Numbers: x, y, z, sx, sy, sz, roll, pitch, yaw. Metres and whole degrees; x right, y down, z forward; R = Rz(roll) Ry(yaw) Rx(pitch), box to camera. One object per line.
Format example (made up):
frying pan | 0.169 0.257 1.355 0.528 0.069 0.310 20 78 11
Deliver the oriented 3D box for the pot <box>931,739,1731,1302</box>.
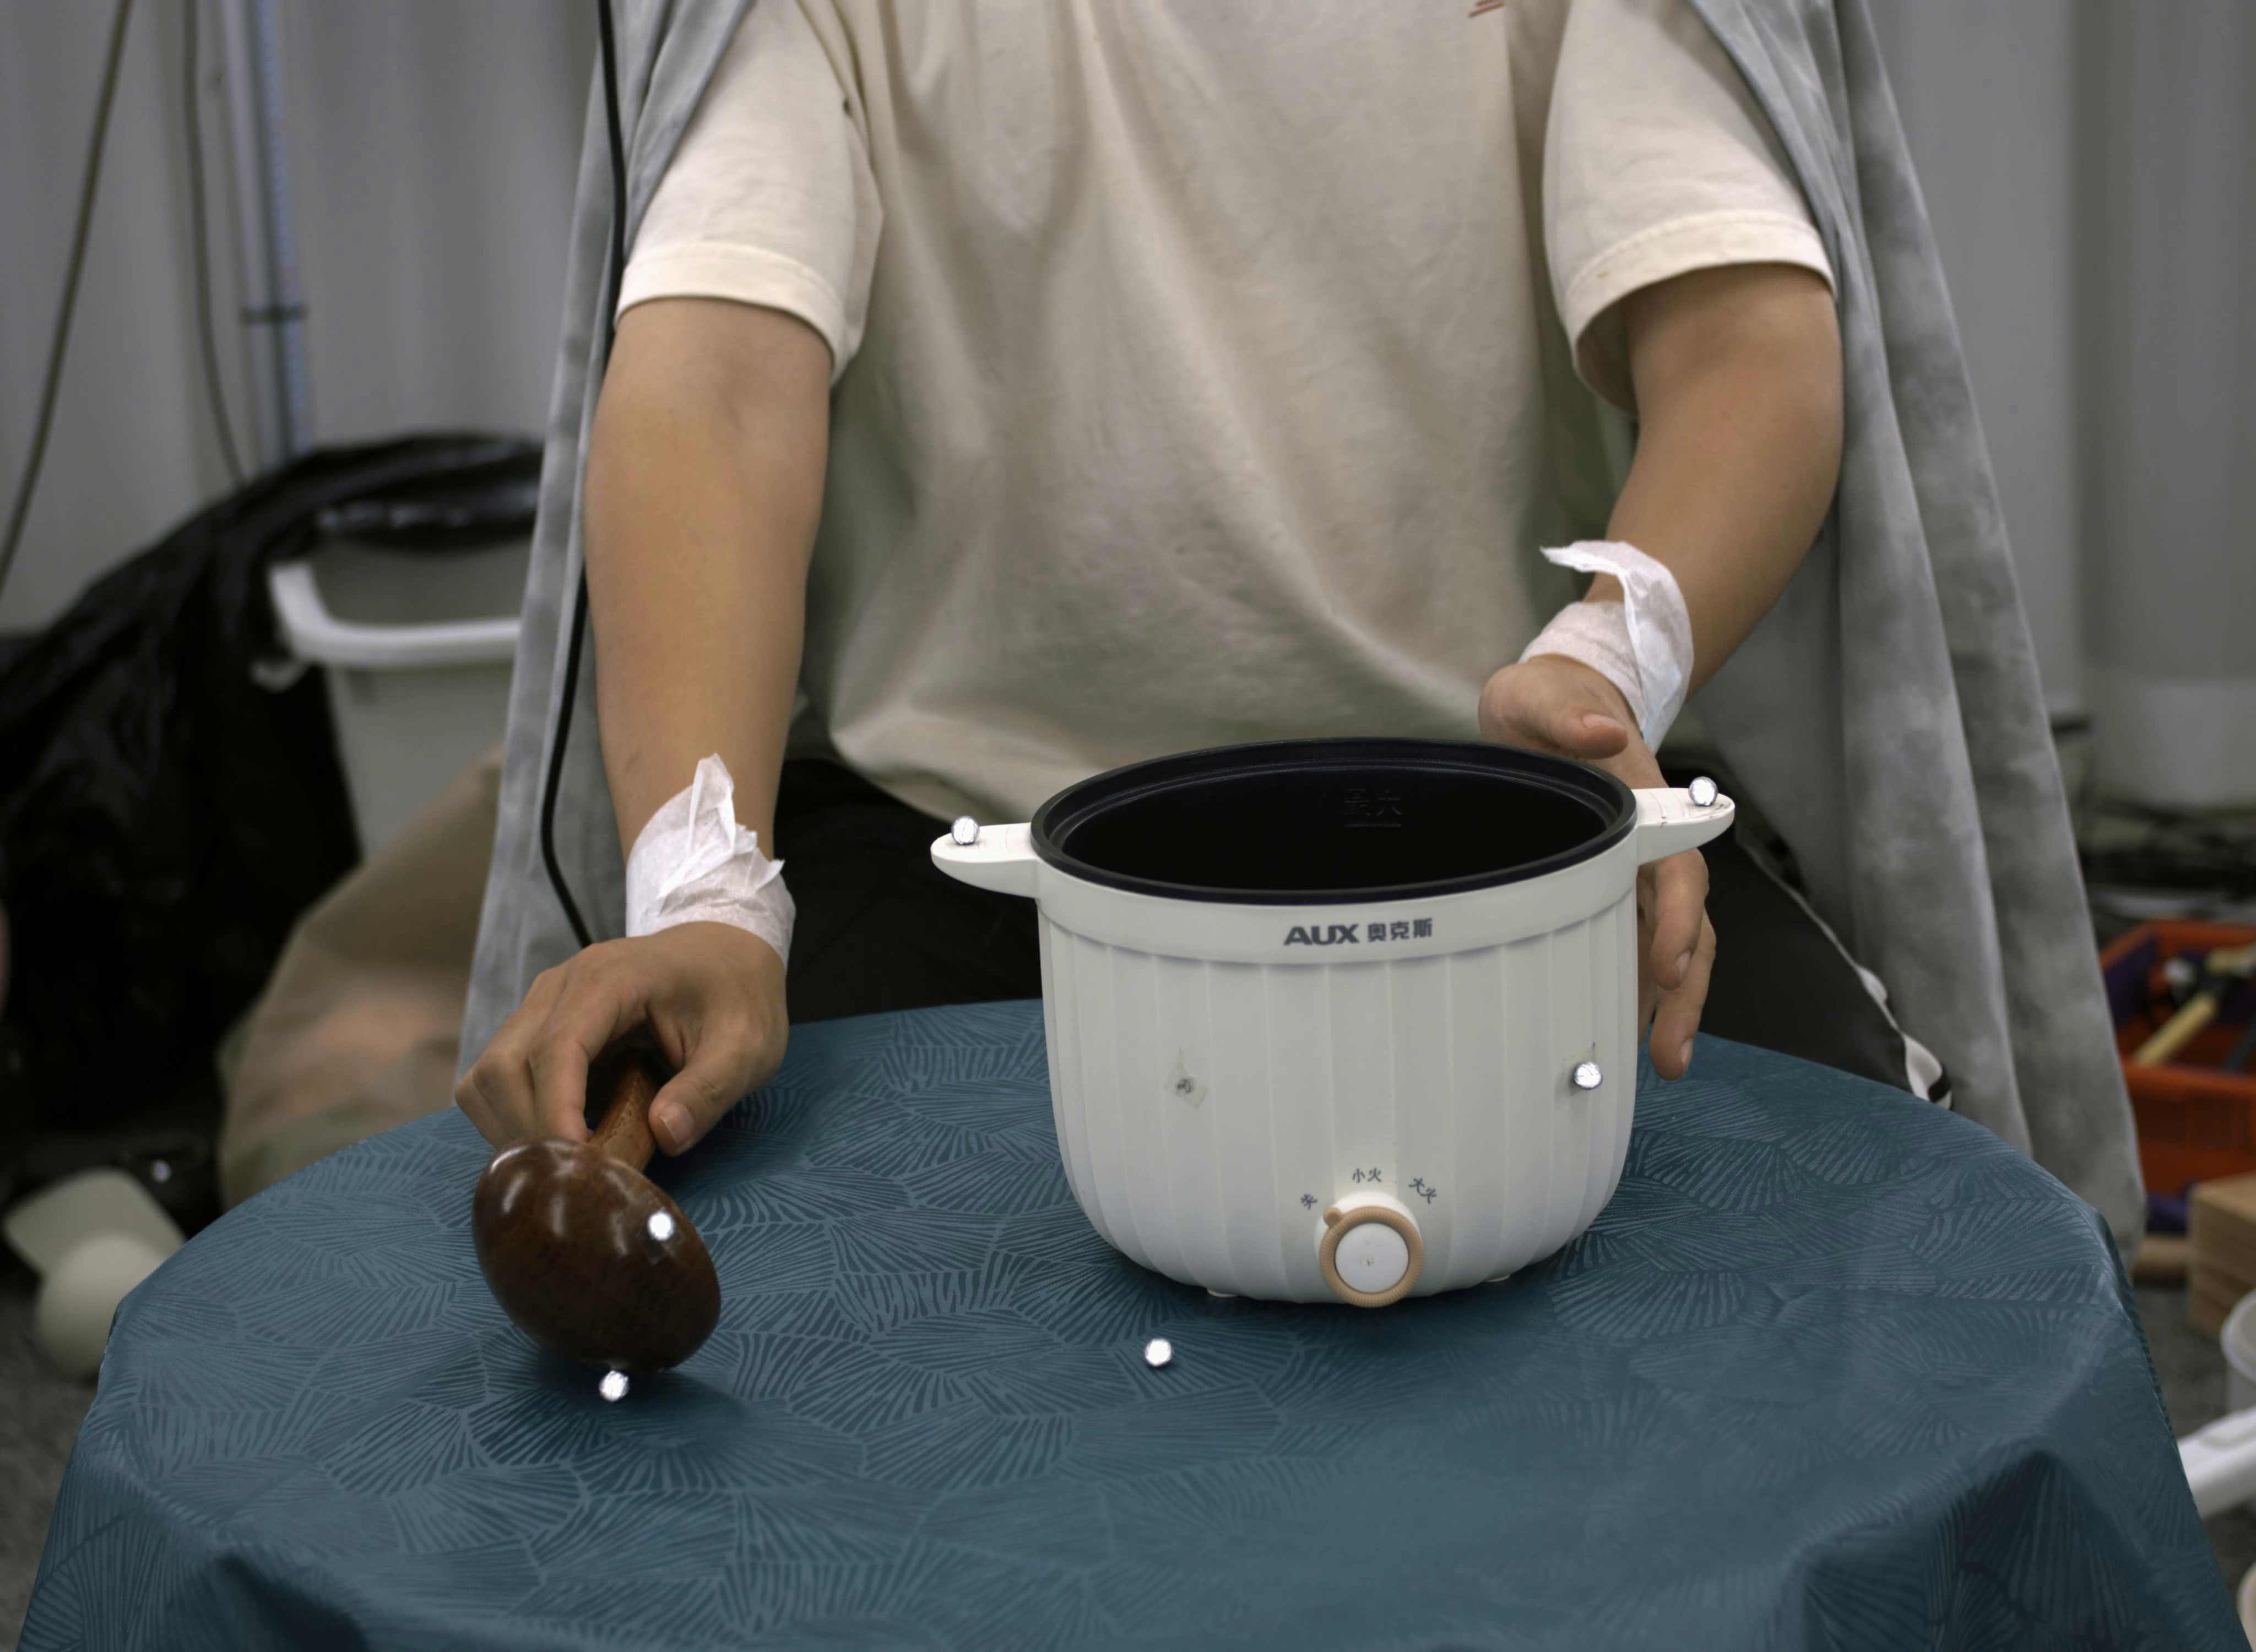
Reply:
pot | 0.065 0.061 1.641 0.239 0.142 0.191 -4 11 -1

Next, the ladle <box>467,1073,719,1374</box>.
ladle | -0.145 0.099 1.666 0.076 0.082 0.275 -38 7 13
